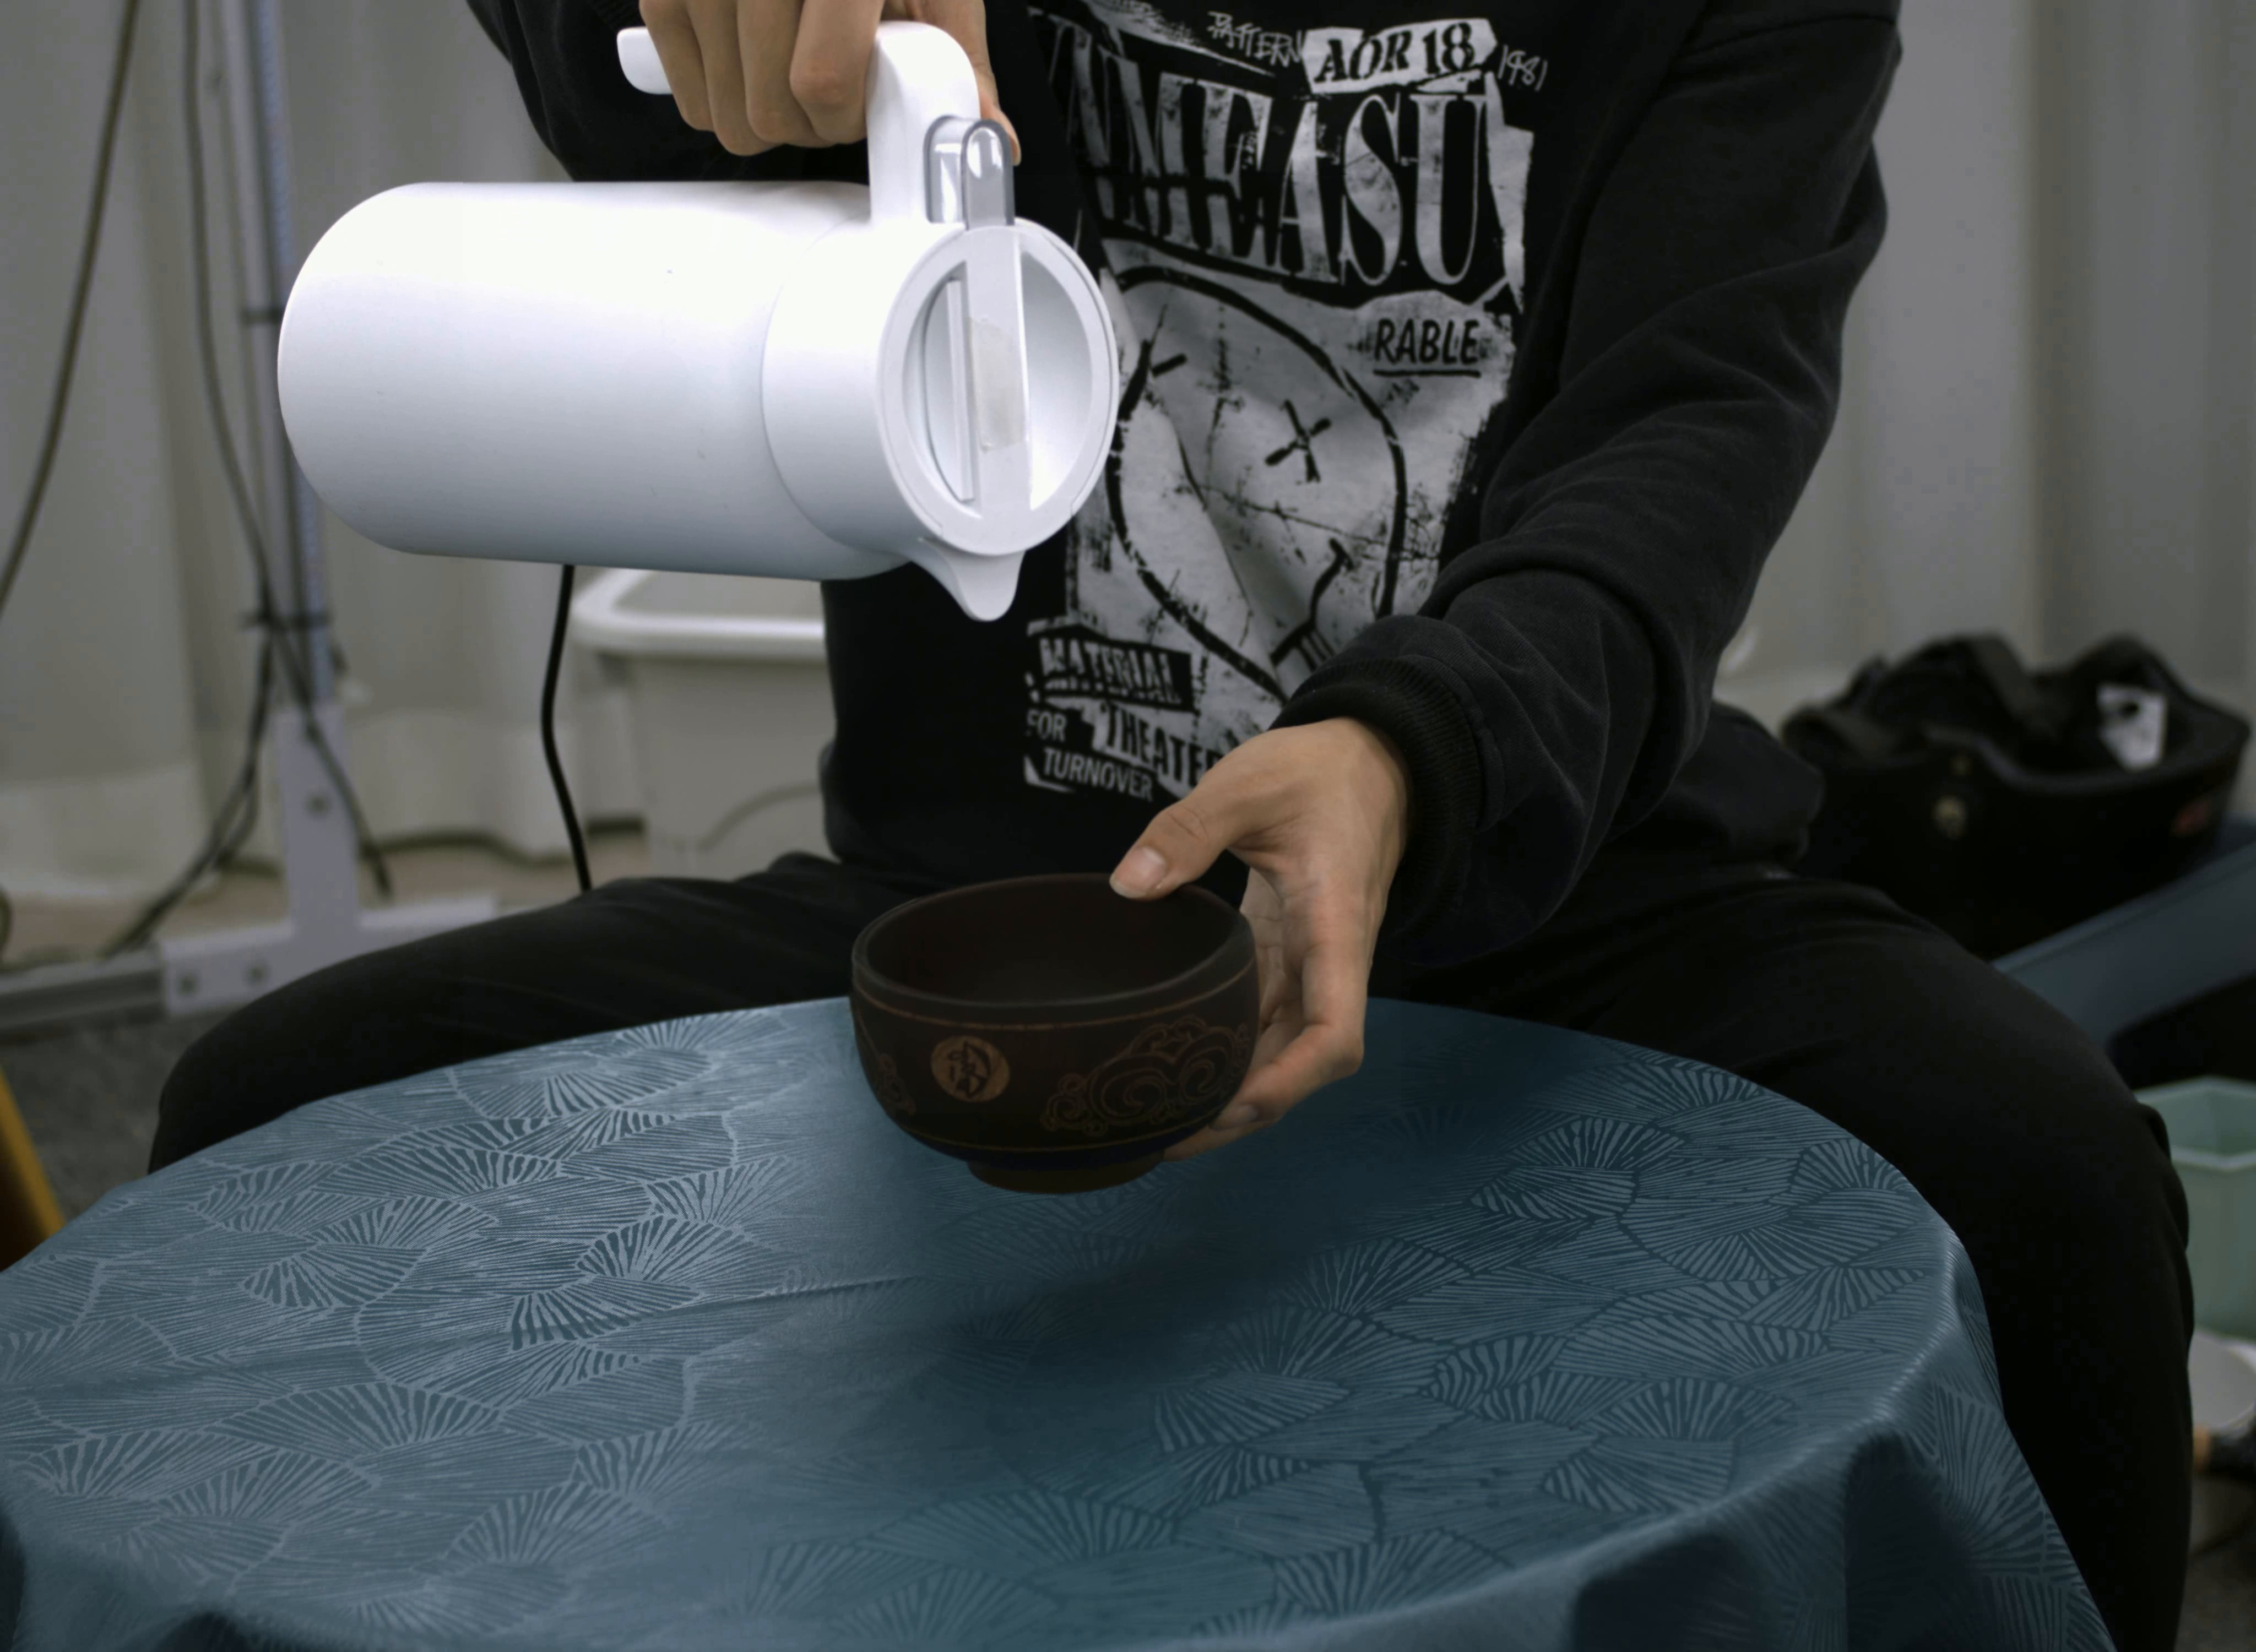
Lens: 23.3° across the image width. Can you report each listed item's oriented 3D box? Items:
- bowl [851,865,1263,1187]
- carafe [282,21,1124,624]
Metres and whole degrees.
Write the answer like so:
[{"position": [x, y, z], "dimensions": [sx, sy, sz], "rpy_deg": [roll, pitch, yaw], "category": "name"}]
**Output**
[{"position": [-0.019, 0.062, 1.570], "dimensions": [0.117, 0.069, 0.119], "rpy_deg": [-3, 17, 1], "category": "bowl"}, {"position": [-0.132, -0.152, 1.640], "dimensions": [0.123, 0.172, 0.270], "rpy_deg": [-13, 13, -43], "category": "carafe"}]
